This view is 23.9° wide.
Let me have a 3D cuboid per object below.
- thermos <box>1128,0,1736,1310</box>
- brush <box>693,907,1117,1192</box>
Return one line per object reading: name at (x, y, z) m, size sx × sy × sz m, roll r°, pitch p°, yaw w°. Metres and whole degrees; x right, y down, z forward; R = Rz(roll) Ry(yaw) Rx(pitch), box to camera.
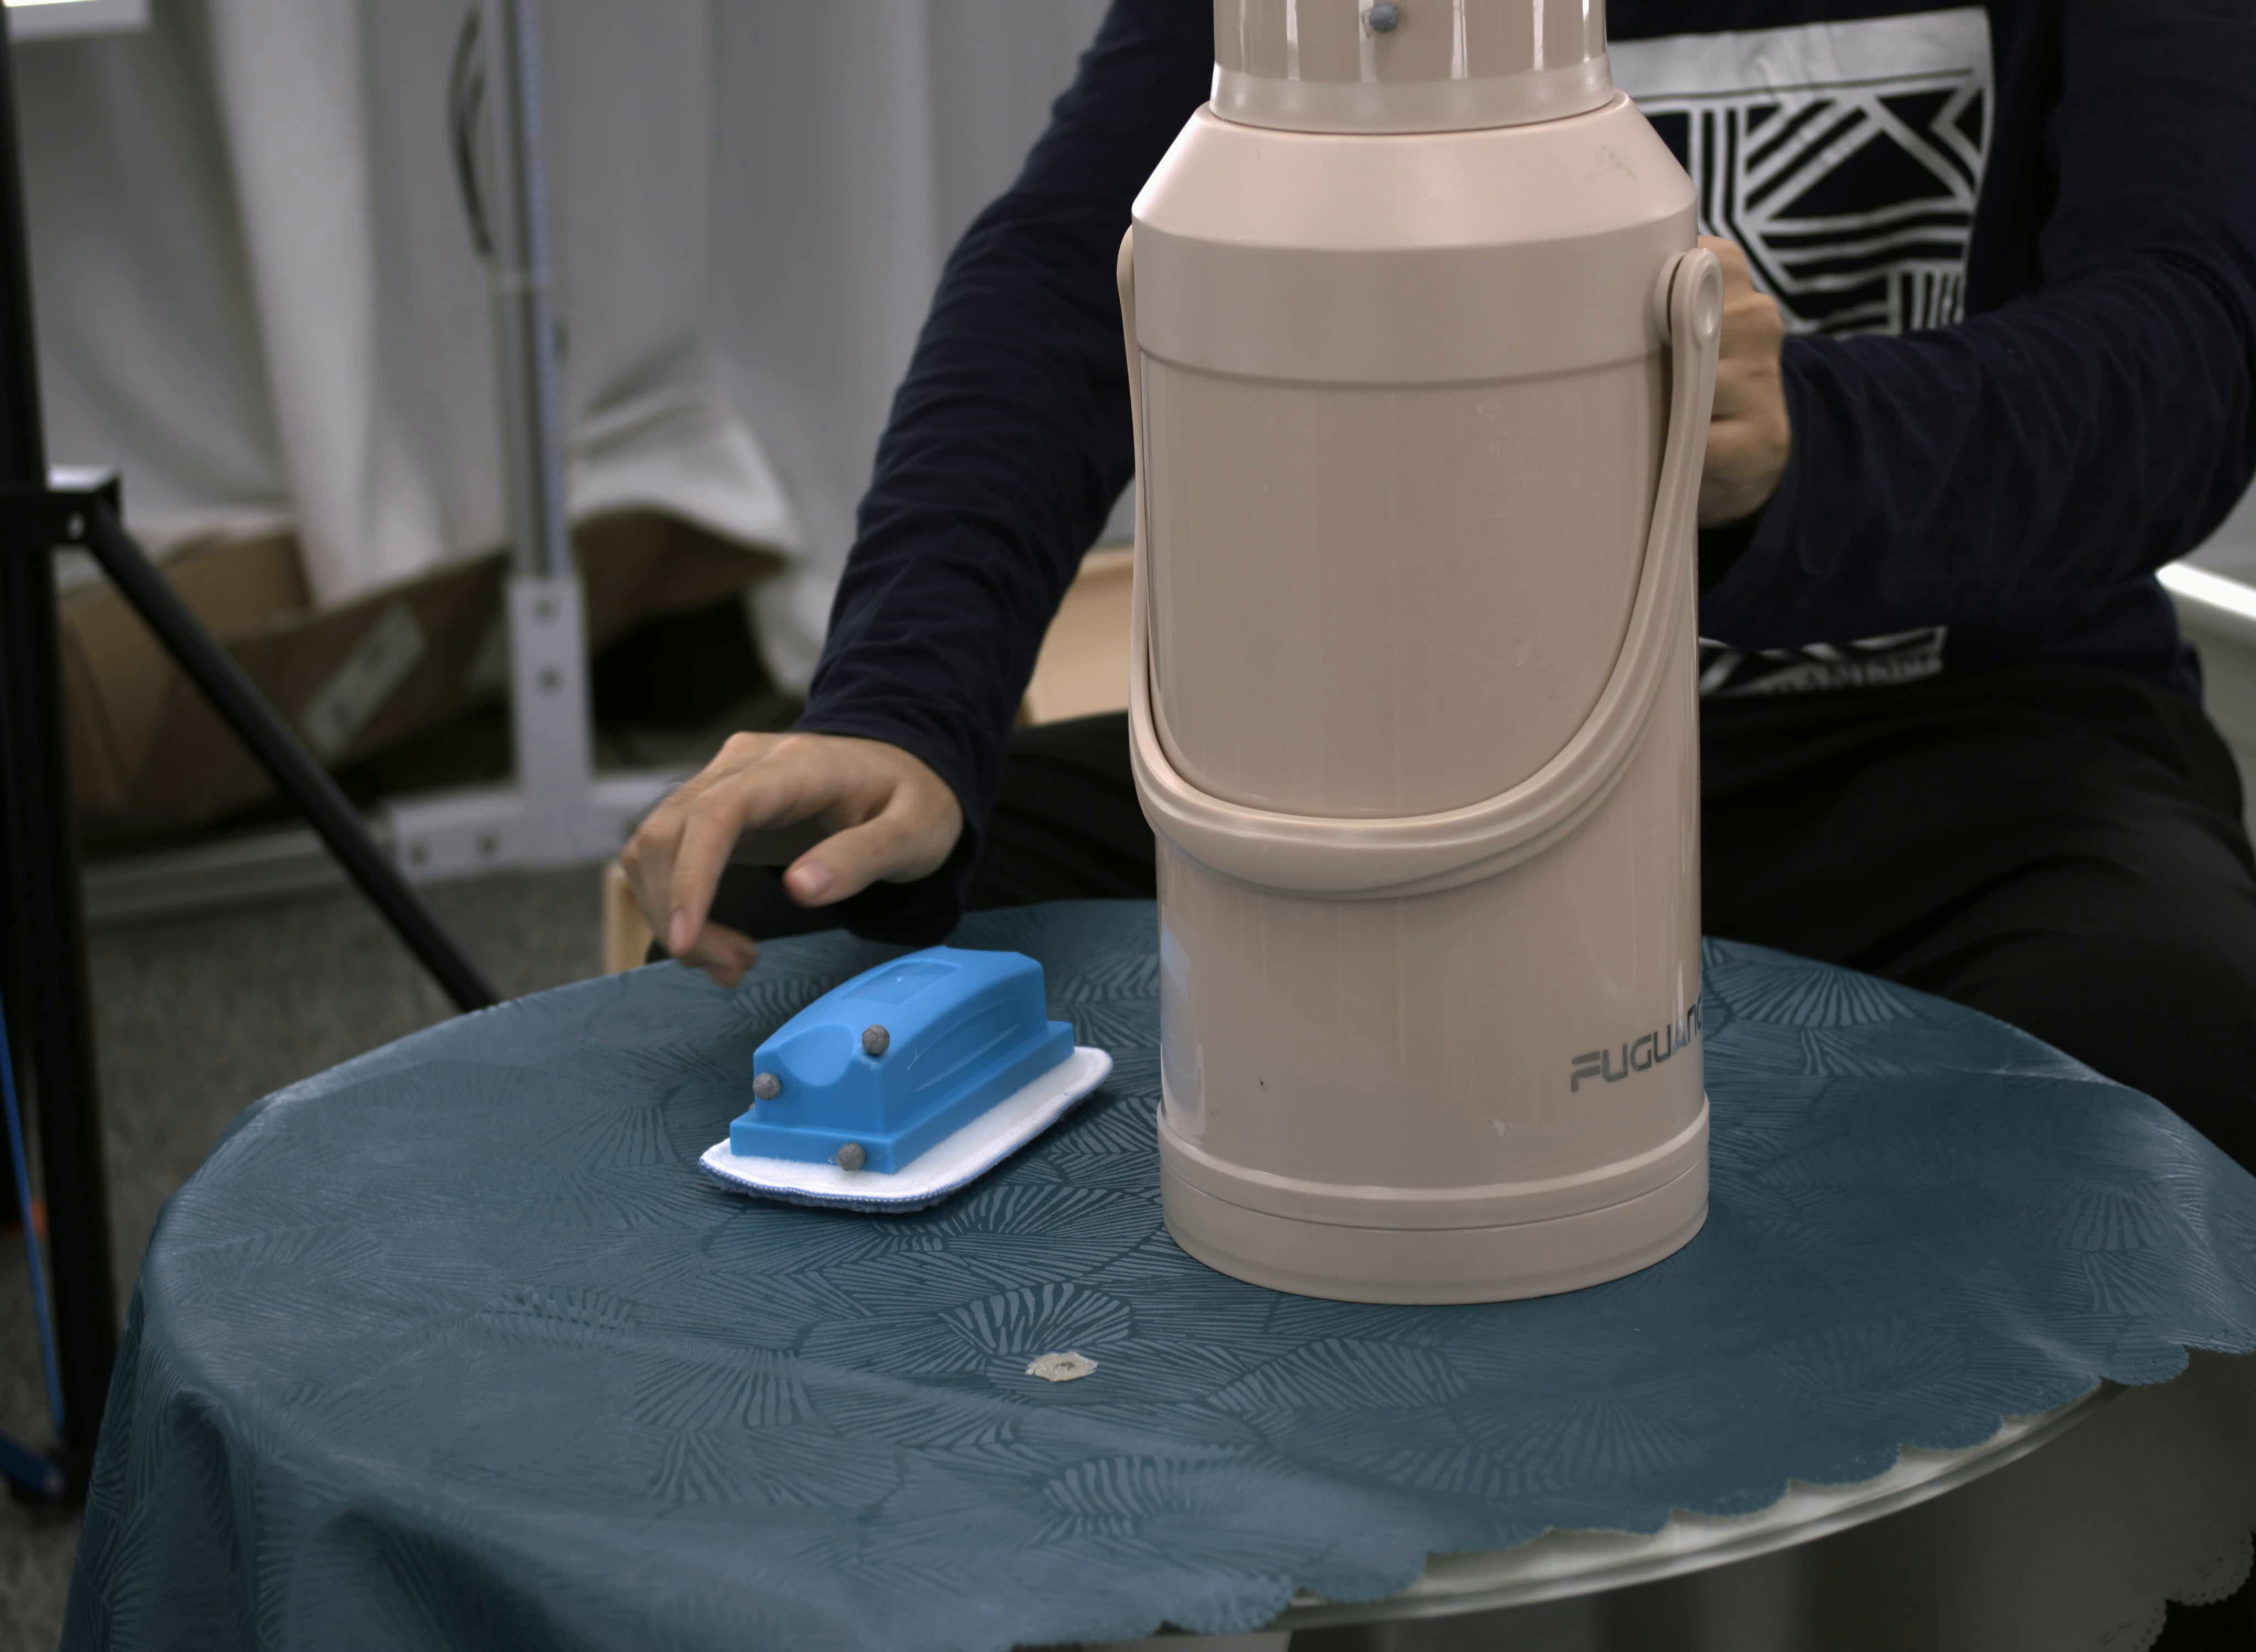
thermos at (0.092, -0.082, 1.492) m, size 0.178 × 0.406 × 0.203 m, roll 4°, pitch 15°, yaw 28°
brush at (-0.066, 0.064, 1.615) m, size 0.085 × 0.056 × 0.141 m, roll 9°, pitch 22°, yaw 28°
